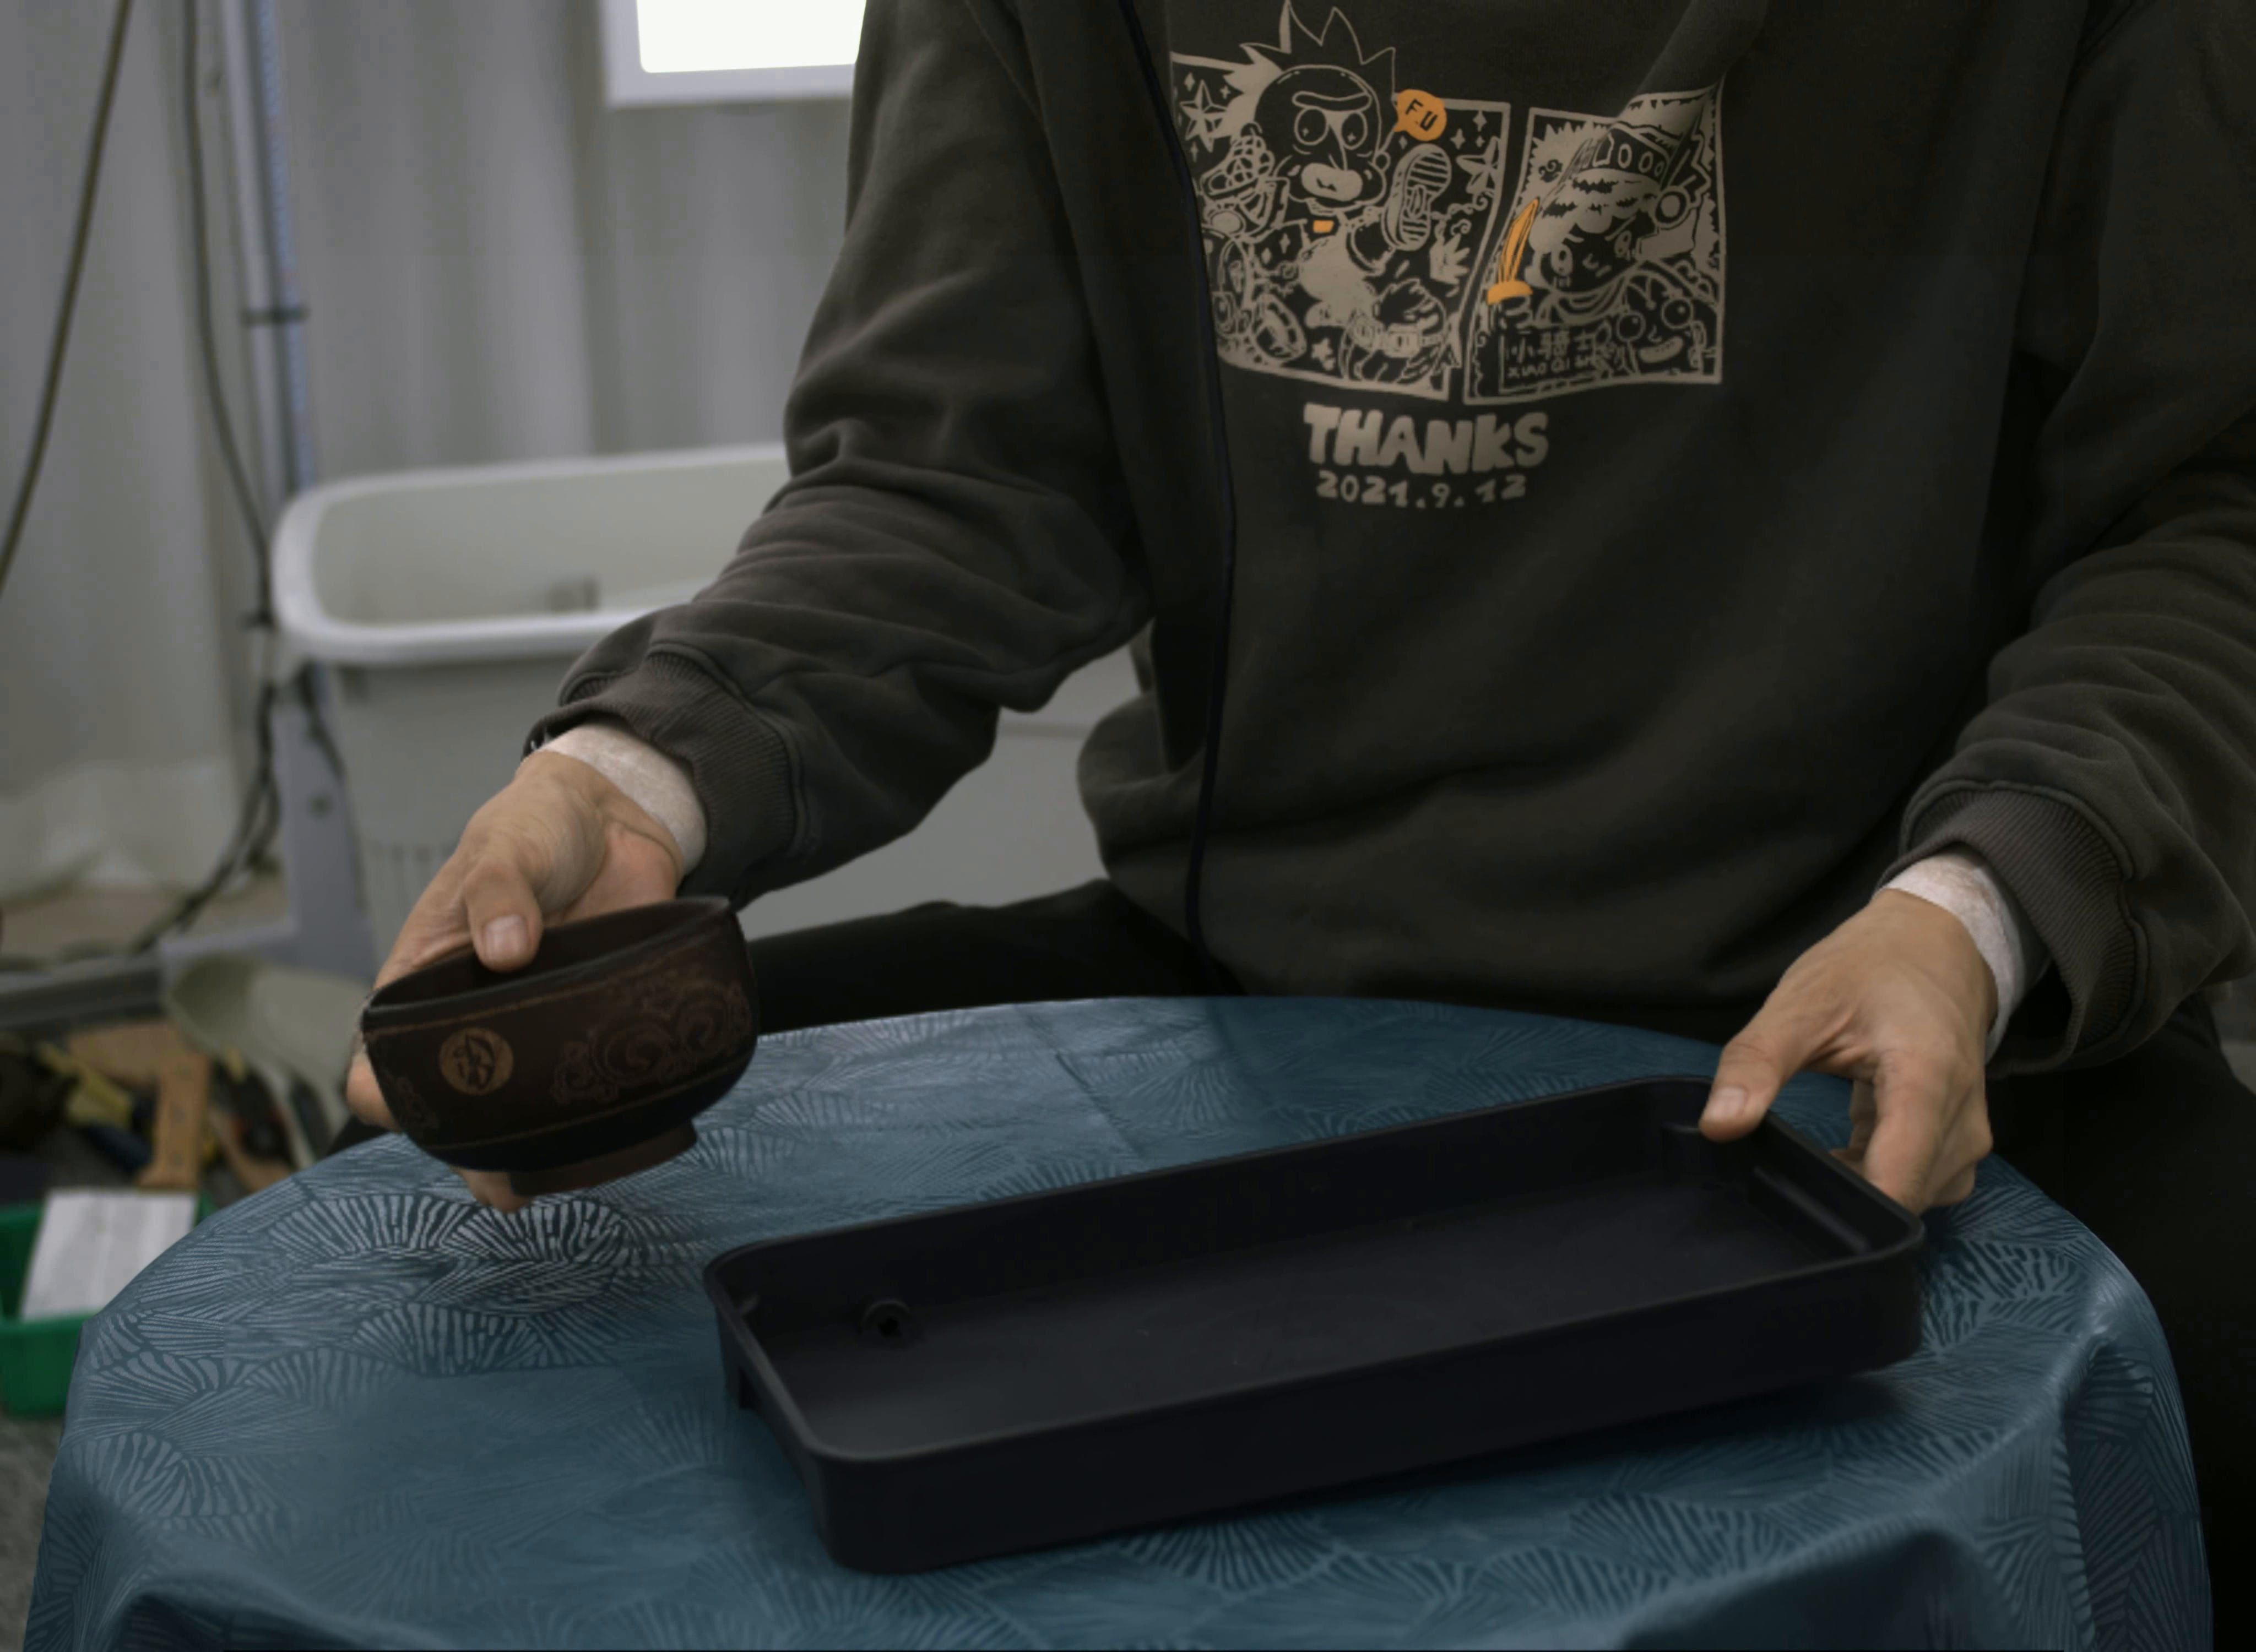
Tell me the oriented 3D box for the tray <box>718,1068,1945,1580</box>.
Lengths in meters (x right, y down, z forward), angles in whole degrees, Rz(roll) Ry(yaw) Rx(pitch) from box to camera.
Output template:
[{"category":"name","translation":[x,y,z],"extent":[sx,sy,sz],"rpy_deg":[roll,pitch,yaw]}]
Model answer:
[{"category":"tray","translation":[0.055,0.135,1.540],"extent":[0.317,0.037,0.185],"rpy_deg":[-11,15,-15]}]

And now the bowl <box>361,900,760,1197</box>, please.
[{"category":"bowl","translation":[-0.166,0.071,1.646],"extent":[0.117,0.070,0.118],"rpy_deg":[-14,6,1]}]
